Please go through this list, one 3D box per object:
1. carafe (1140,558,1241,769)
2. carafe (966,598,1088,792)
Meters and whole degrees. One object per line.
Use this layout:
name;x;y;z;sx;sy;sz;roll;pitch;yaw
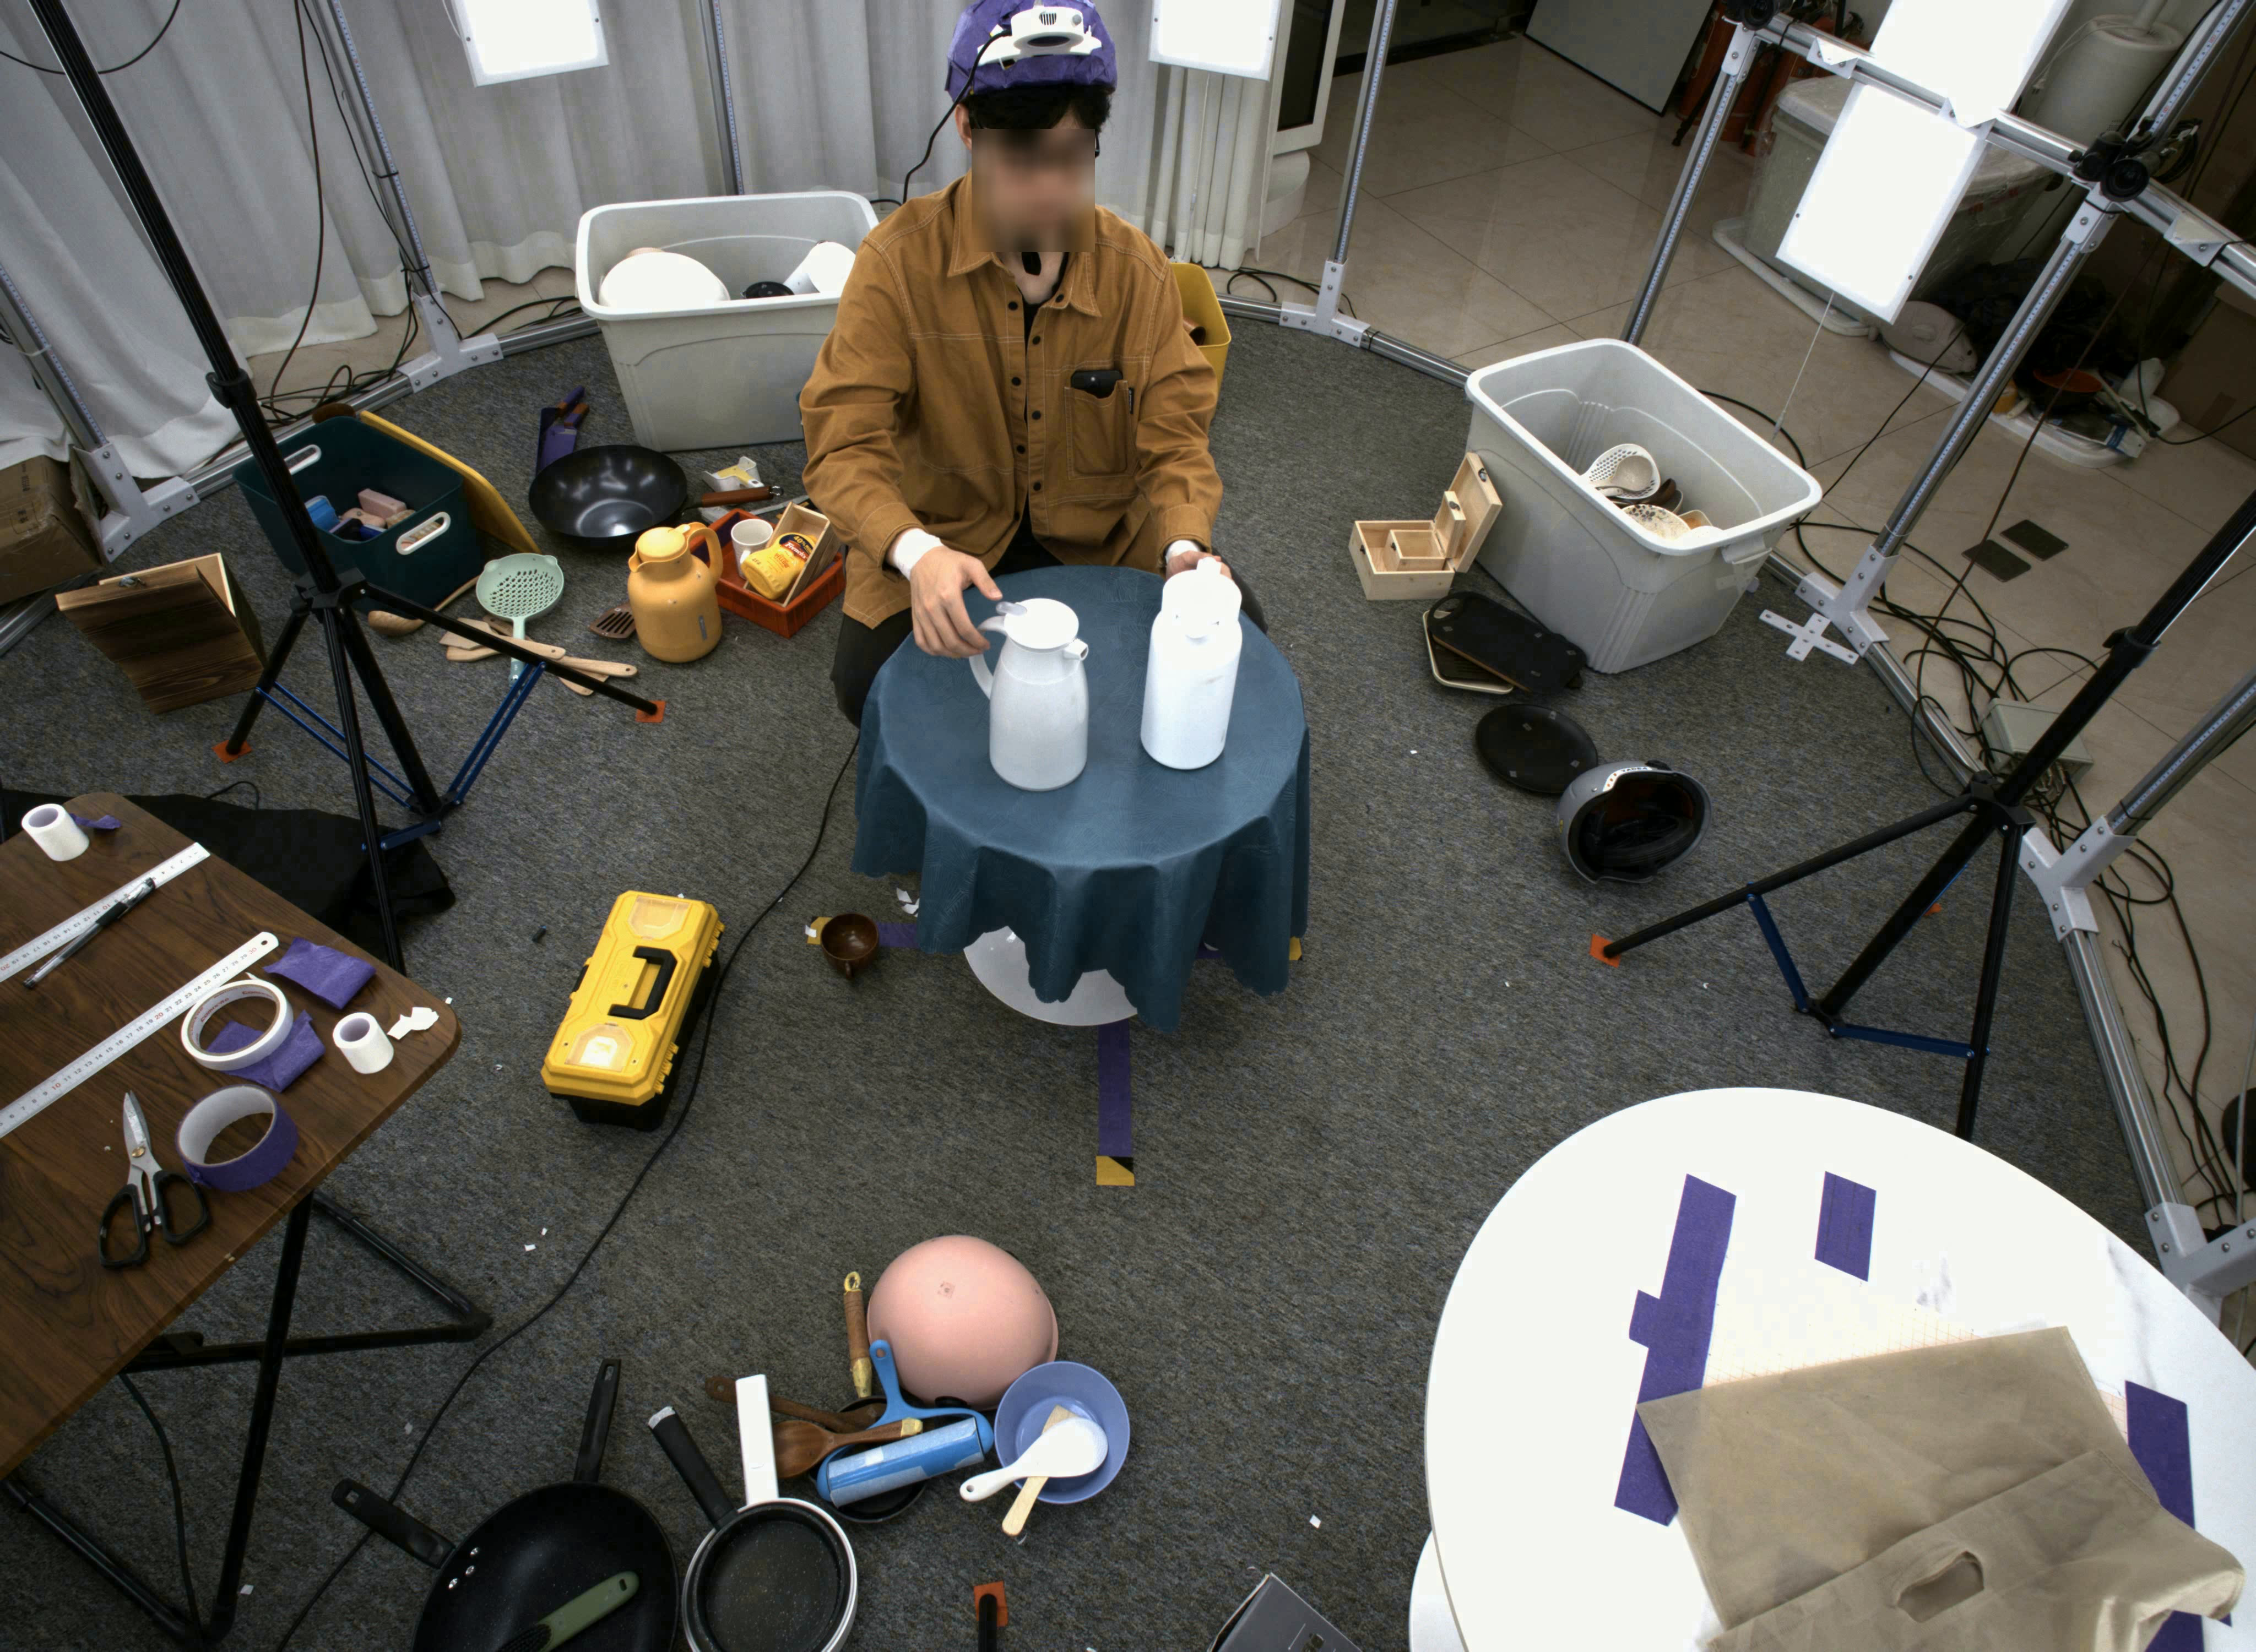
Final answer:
carafe;0.084;-0.215;1.689;0.124;0.262;0.177;8;49;5
carafe;-0.133;-0.181;1.658;0.169;0.242;0.135;24;52;17
